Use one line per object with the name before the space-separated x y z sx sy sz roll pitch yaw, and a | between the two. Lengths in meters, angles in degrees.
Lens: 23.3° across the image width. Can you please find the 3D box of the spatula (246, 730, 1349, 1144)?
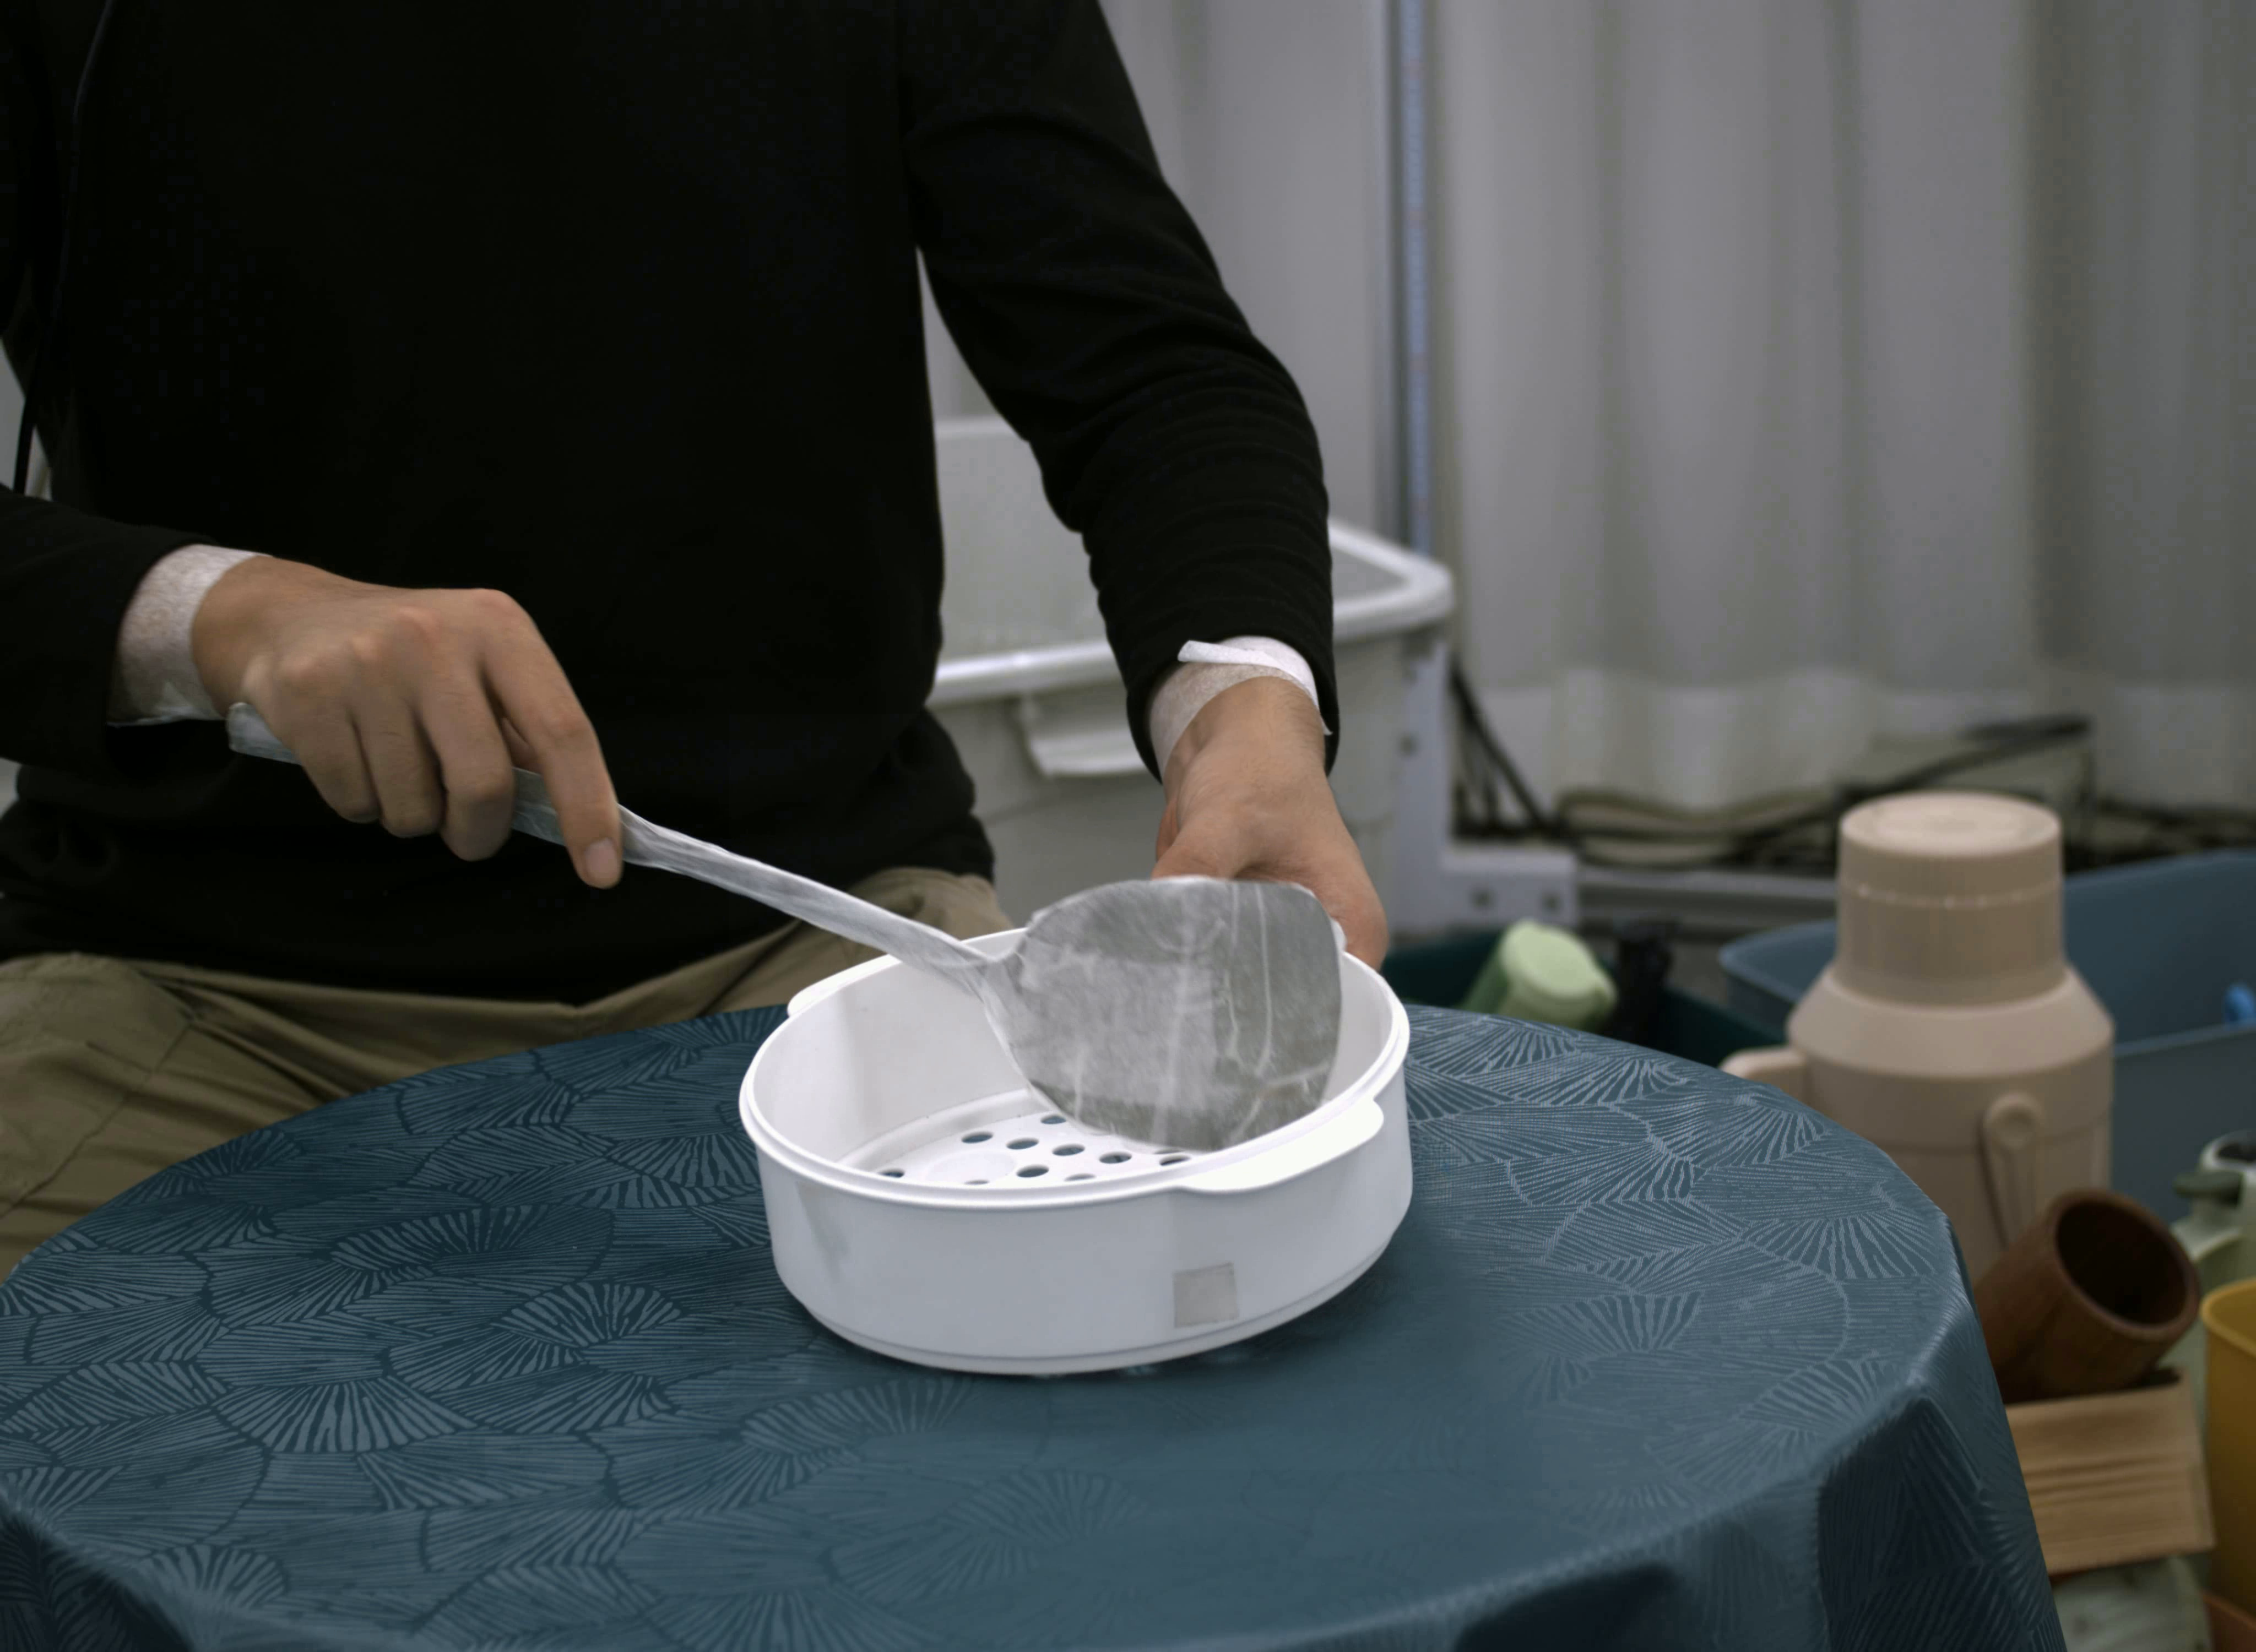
spatula | -0.107 0.018 1.683 0.366 0.098 0.045 18 33 20

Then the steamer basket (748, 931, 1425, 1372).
steamer basket | -0.010 0.095 1.624 0.201 0.069 0.232 -20 24 -33
